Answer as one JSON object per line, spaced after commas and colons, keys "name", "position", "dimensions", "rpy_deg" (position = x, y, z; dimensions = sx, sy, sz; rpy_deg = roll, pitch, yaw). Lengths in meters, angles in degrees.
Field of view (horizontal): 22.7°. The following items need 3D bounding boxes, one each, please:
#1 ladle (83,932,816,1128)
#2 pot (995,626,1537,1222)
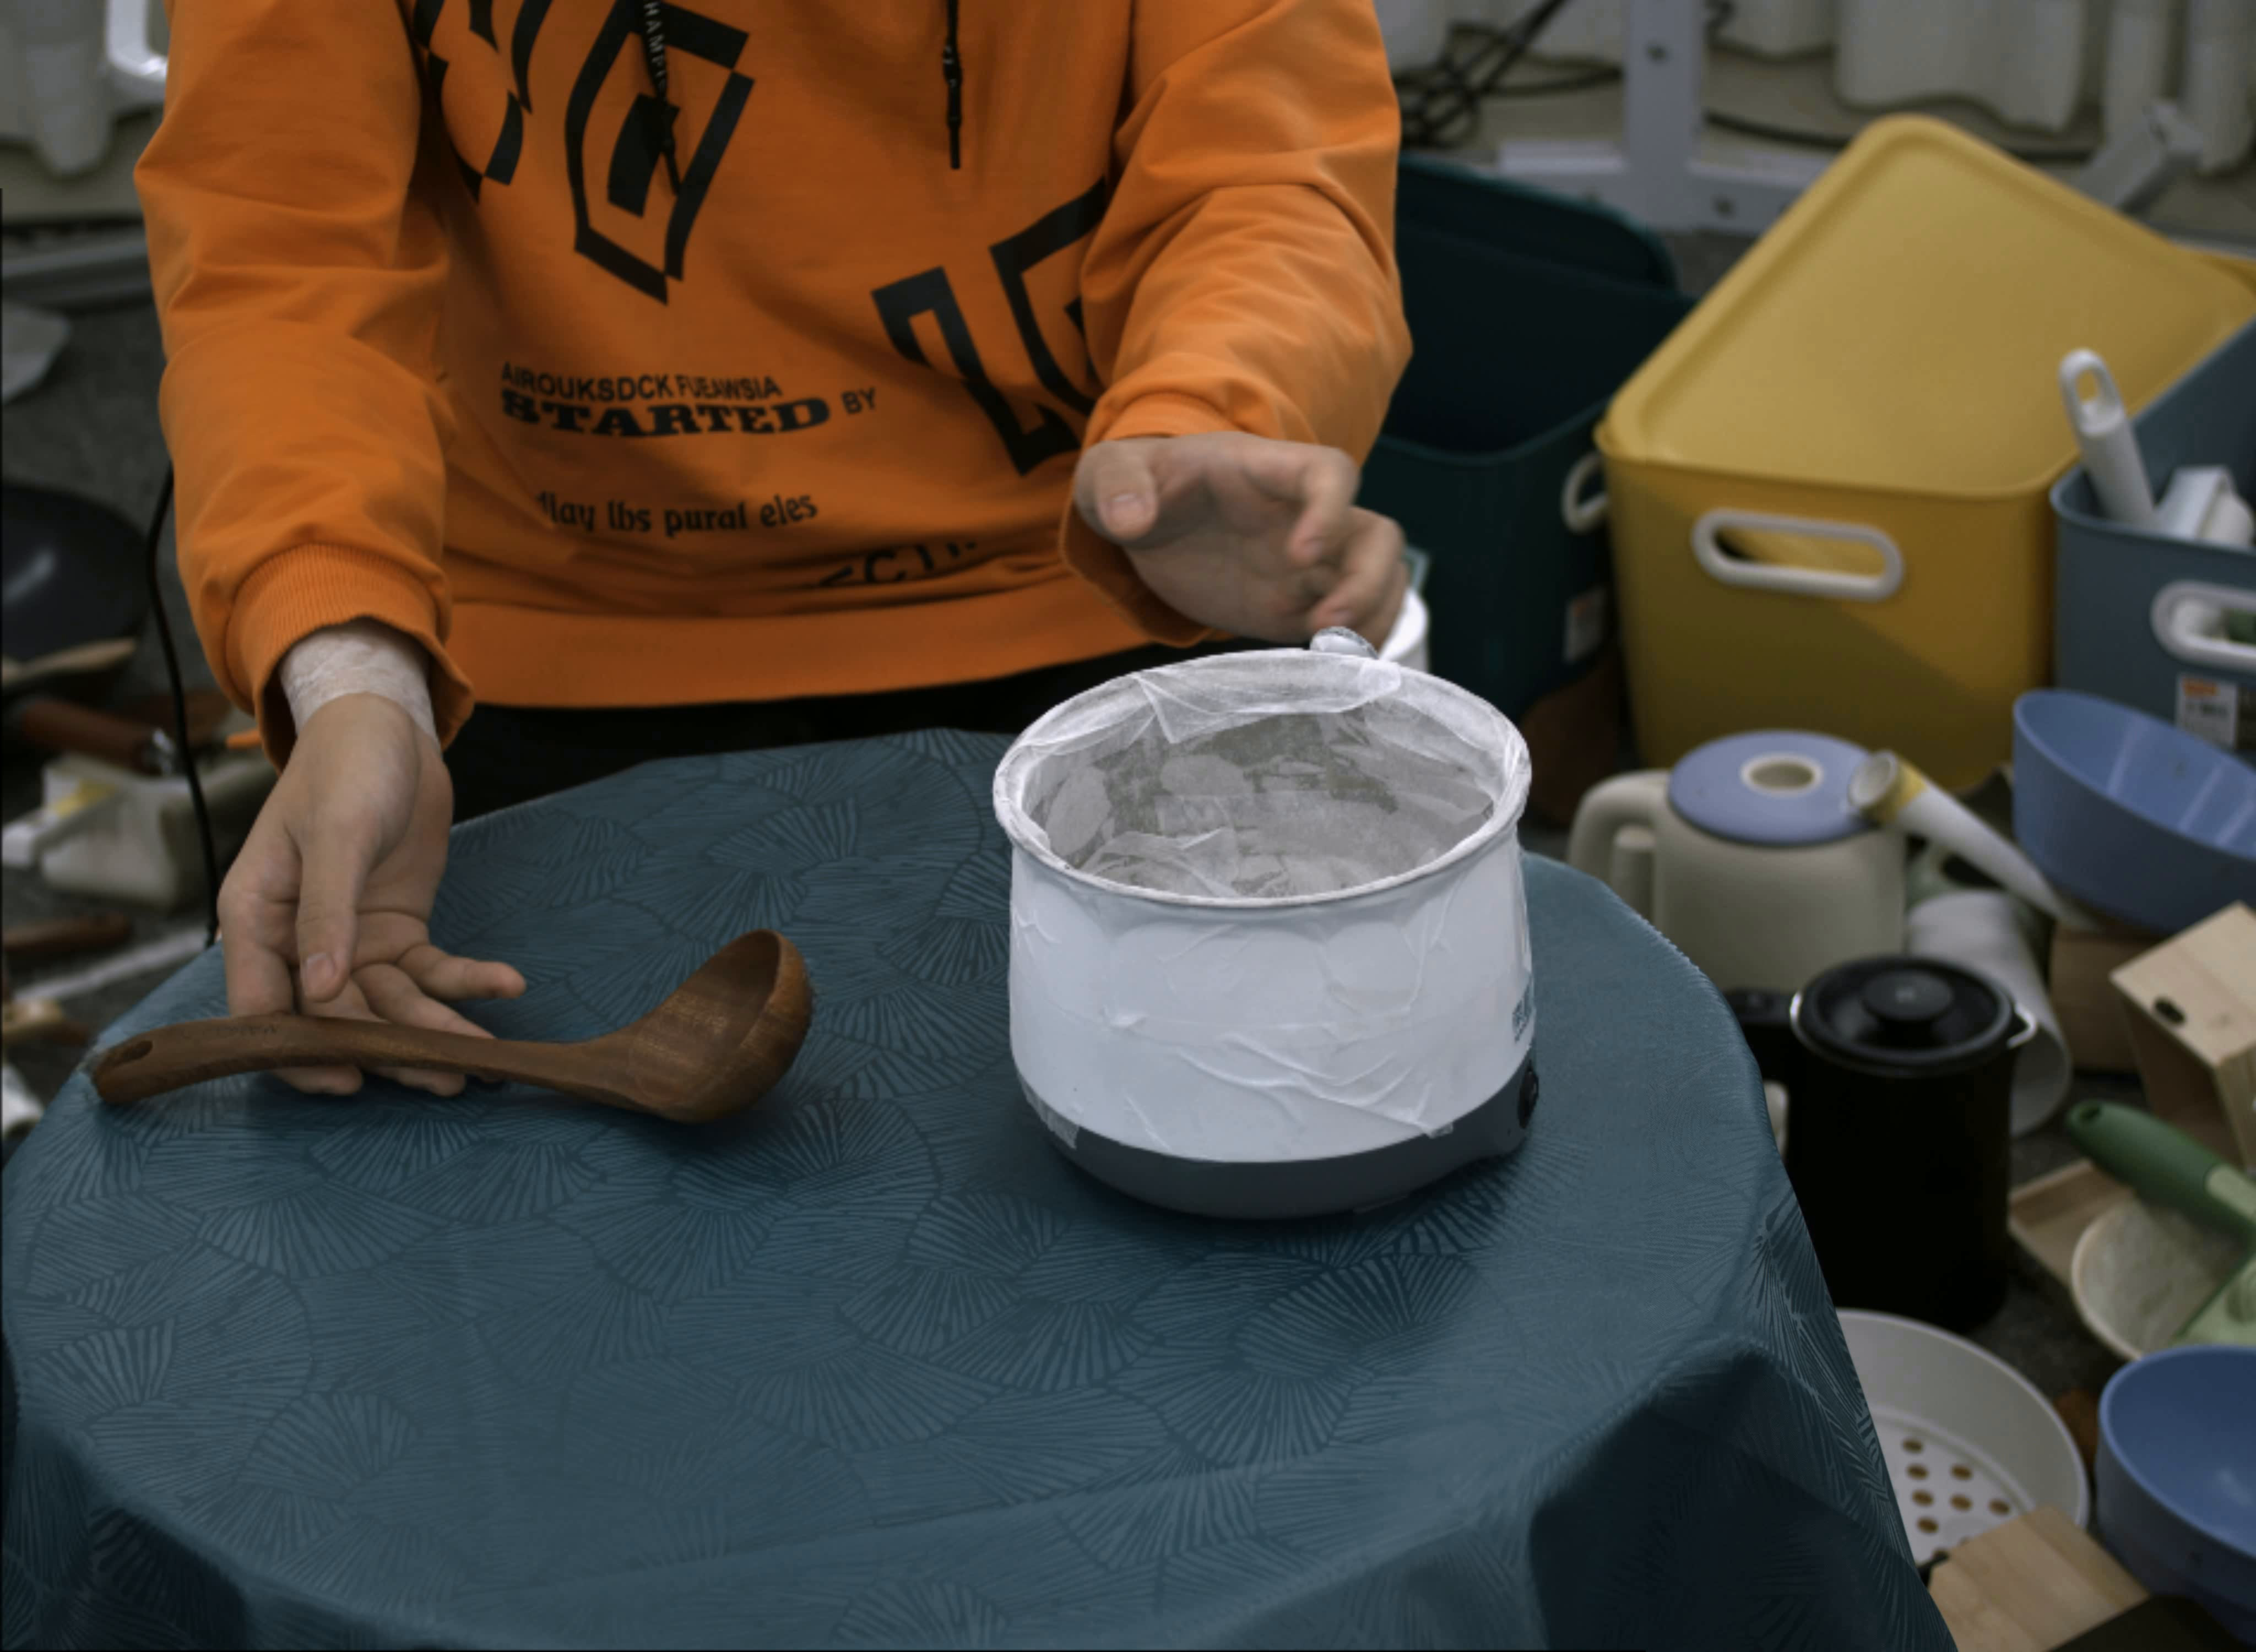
{"name": "ladle", "position": [-0.233, 0.070, 1.917], "dimensions": [0.258, 0.064, 0.078], "rpy_deg": [1, 33, 6]}
{"name": "pot", "position": [0.054, 0.026, 1.895], "dimensions": [0.177, 0.135, 0.238], "rpy_deg": [5, 28, 14]}
